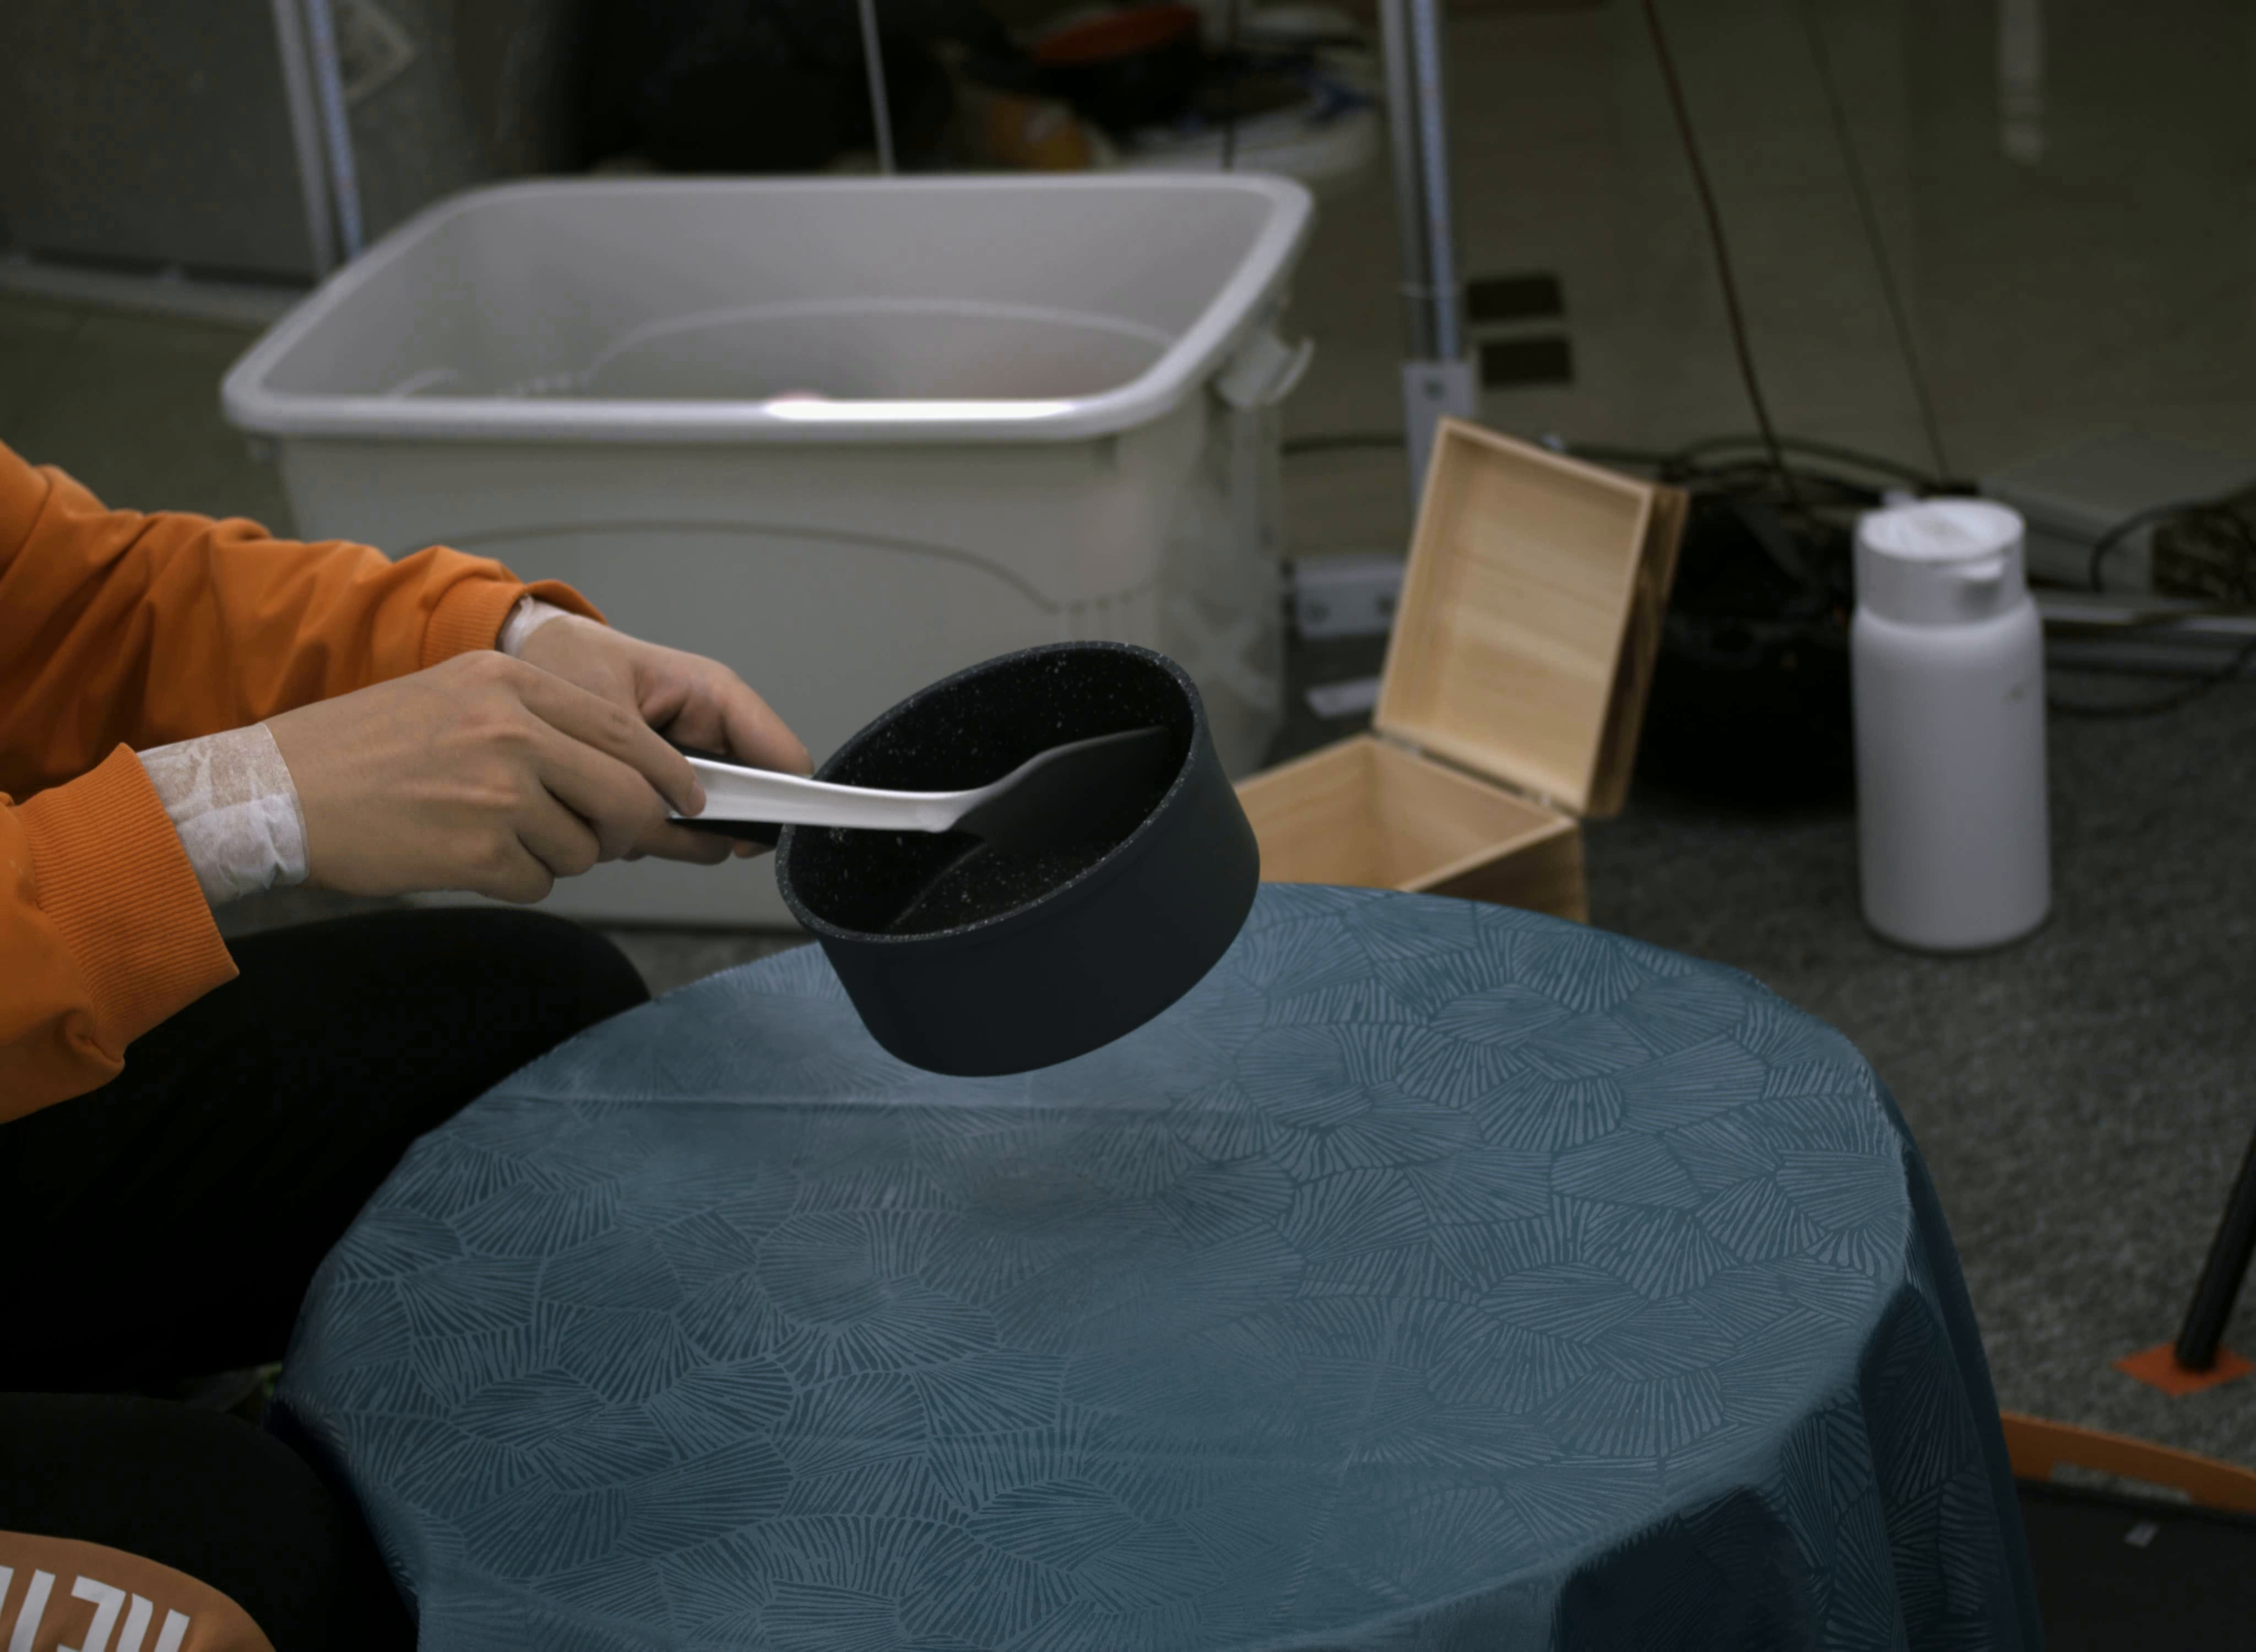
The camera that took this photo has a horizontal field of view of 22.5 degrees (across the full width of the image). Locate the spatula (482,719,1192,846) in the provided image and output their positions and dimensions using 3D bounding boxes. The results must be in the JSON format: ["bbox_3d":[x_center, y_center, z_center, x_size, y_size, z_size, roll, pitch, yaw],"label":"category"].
[{"bbox_3d":[-0.100,-0.013,2.065,0.287,0.059,0.032,-1,42,-33],"label":"spatula"}]

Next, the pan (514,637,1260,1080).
[{"bbox_3d":[-0.100,0.004,2.154,0.327,0.088,0.170,9,46,39],"label":"pan"}]
